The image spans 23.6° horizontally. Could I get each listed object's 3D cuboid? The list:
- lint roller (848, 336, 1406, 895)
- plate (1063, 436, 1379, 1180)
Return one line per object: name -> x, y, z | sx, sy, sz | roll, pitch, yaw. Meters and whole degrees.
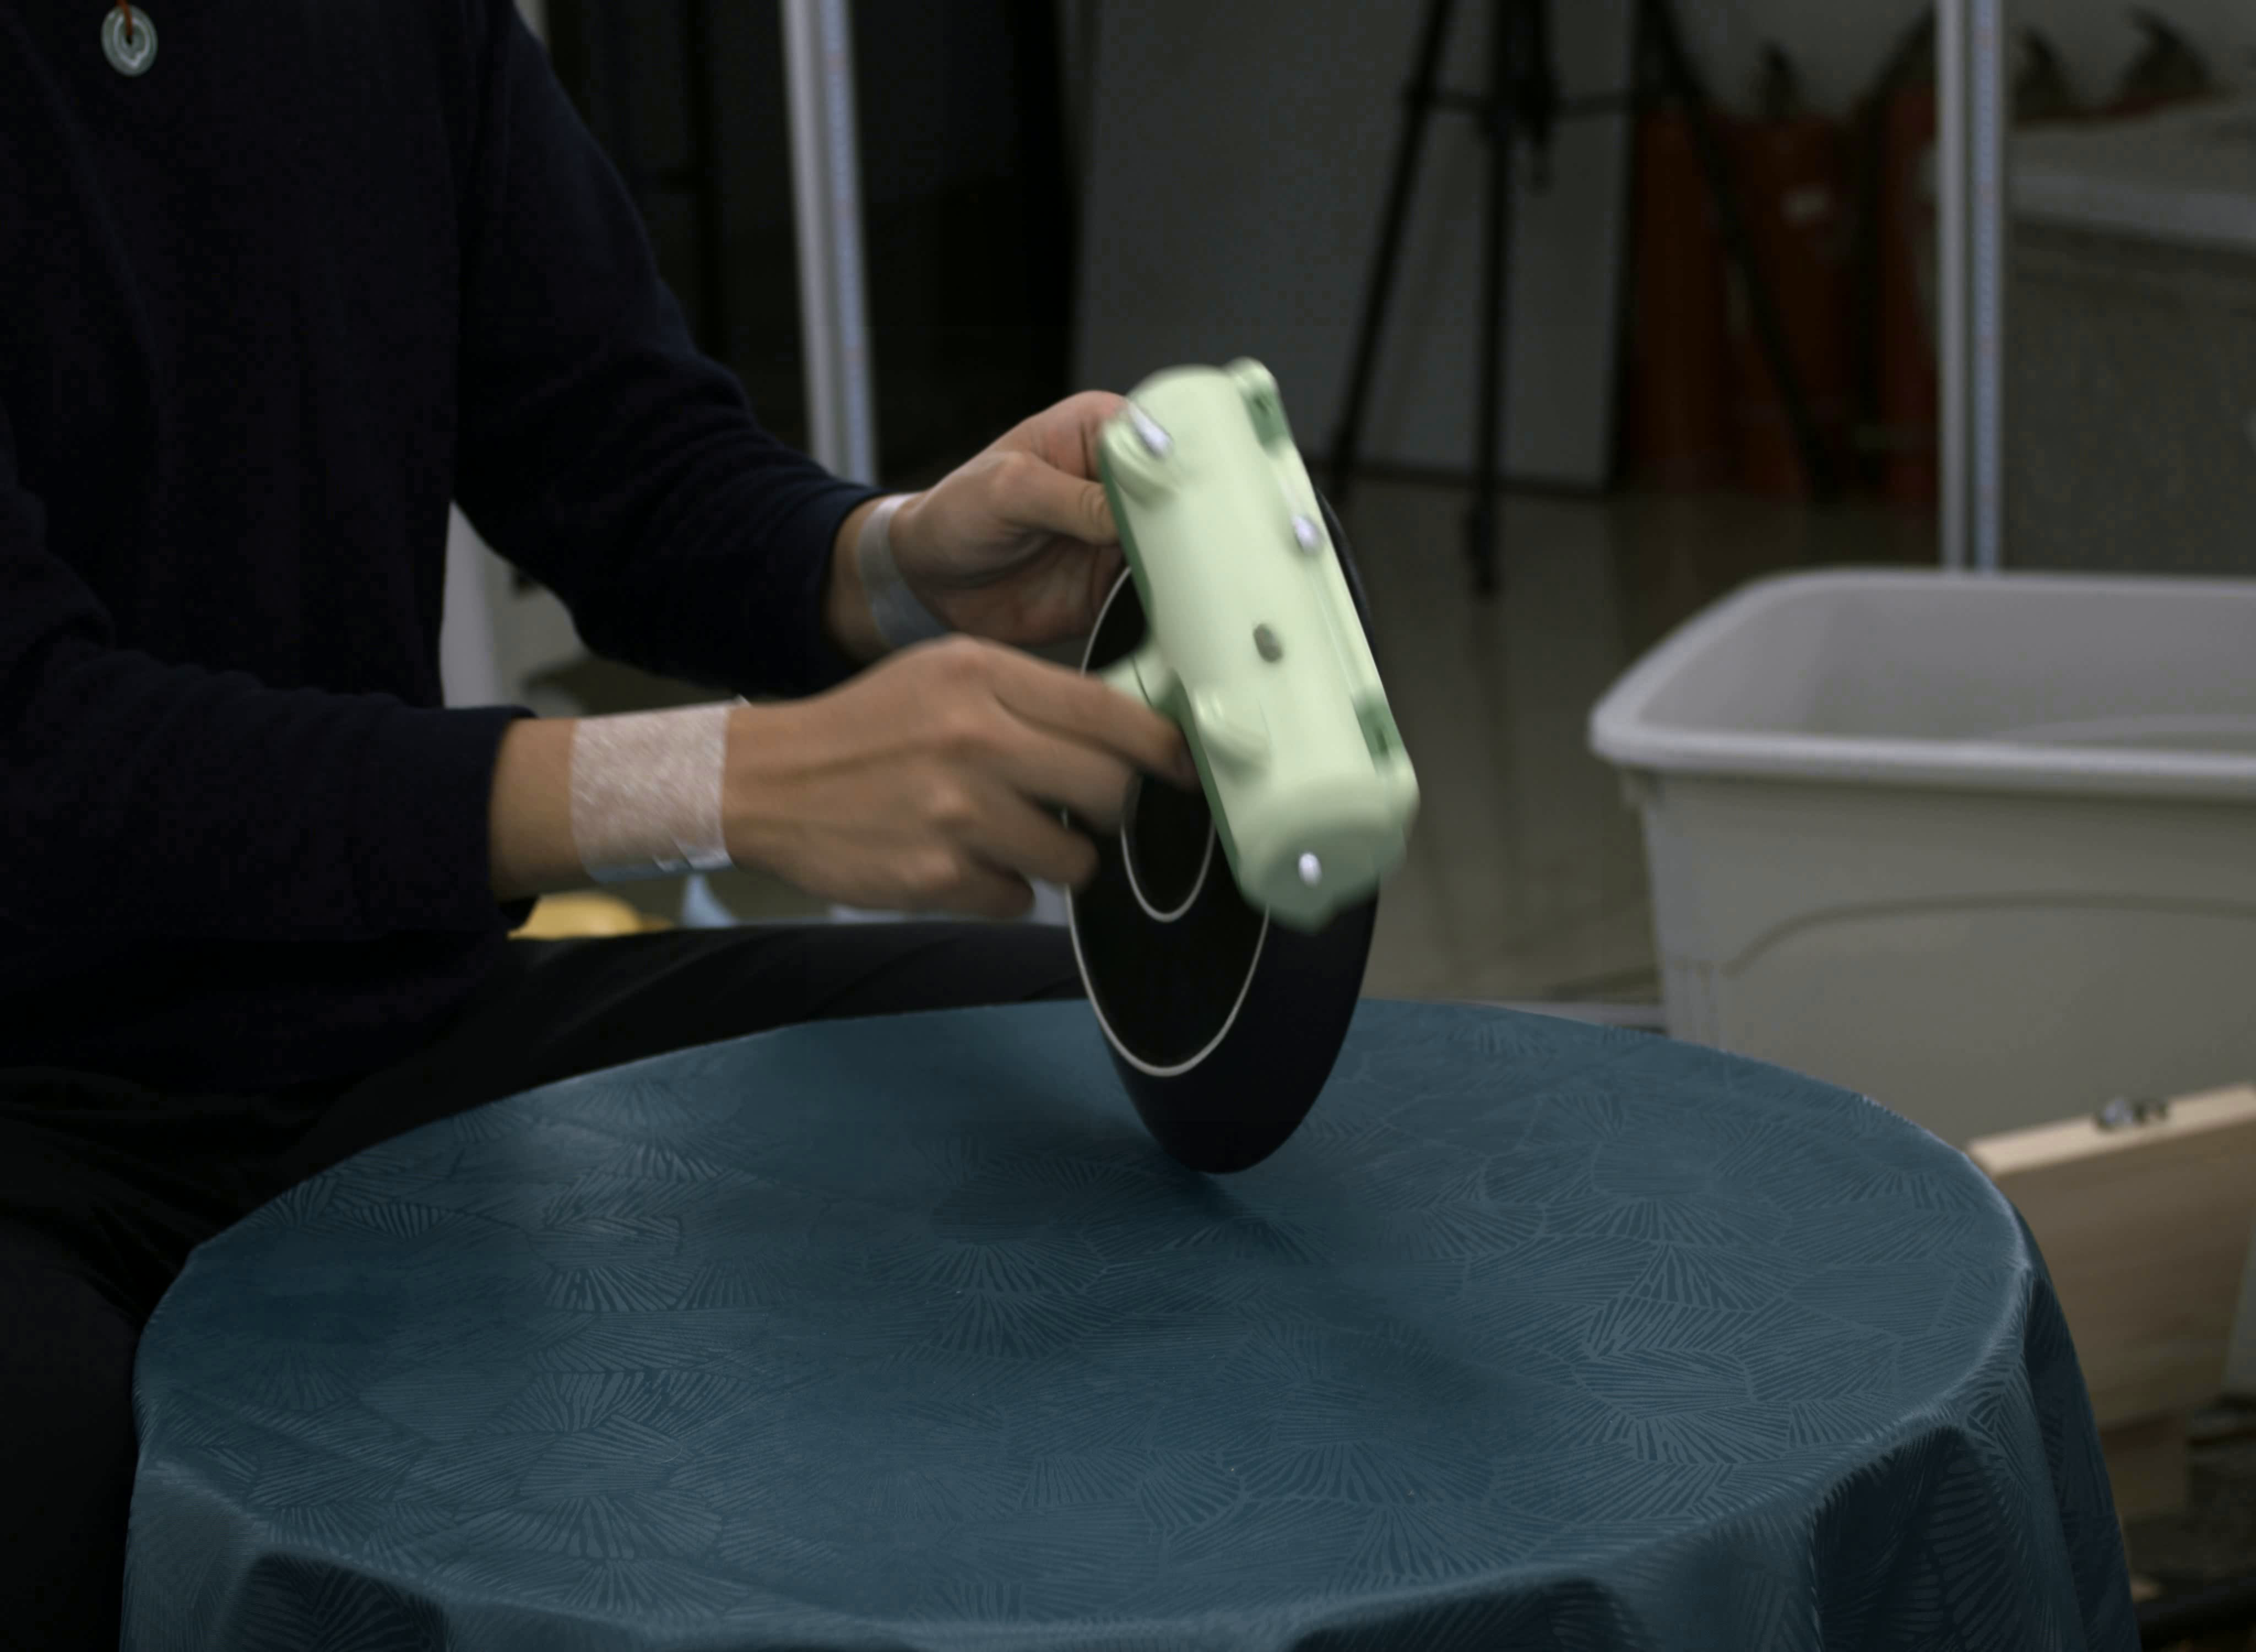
lint roller -> -0.019, -0.048, 1.682 | 0.182, 0.081, 0.201 | -27, 49, 9
plate -> 0.022, -0.007, 1.772 | 0.023, 0.247, 0.247 | 2, 11, -22
